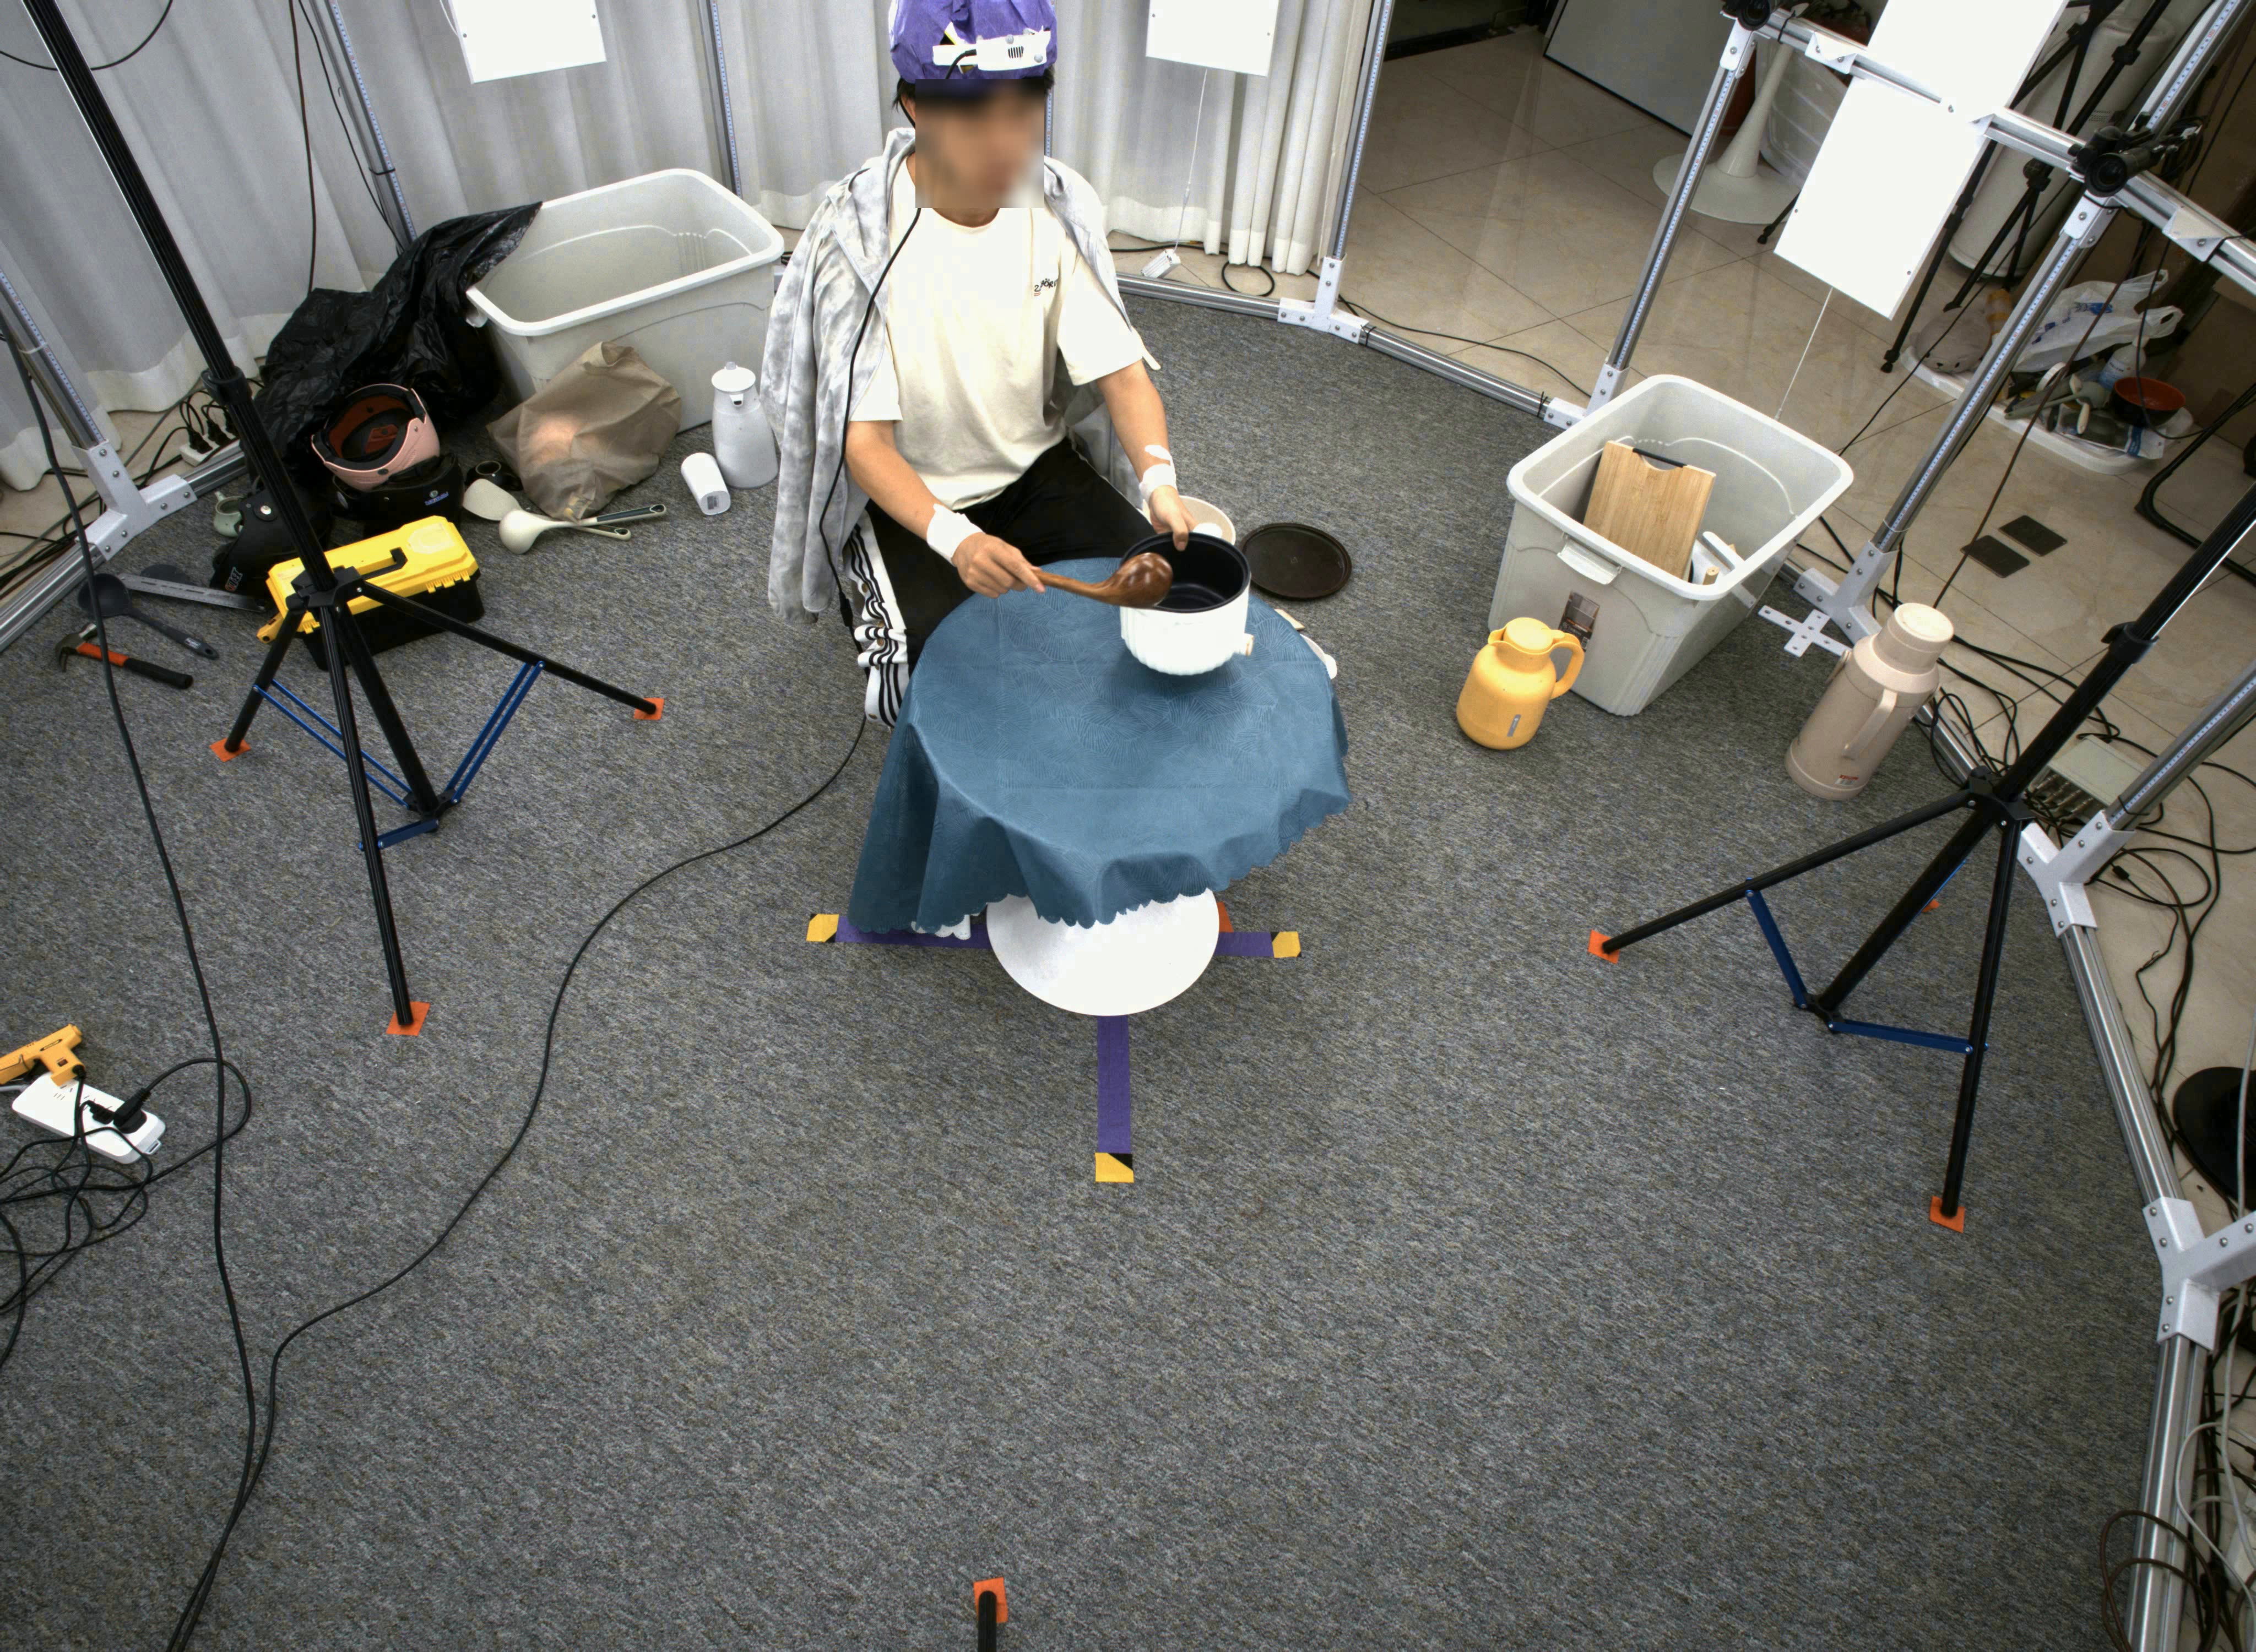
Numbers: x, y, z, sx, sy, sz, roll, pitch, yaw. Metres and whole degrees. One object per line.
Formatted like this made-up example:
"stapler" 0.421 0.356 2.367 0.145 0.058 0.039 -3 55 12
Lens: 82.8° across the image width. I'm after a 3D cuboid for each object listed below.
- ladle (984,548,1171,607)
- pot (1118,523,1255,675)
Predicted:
"ladle" -0.069 -0.340 1.701 0.277 0.080 0.078 17 58 34
"pot" 0.084 -0.307 1.807 0.191 0.139 0.245 12 48 17
